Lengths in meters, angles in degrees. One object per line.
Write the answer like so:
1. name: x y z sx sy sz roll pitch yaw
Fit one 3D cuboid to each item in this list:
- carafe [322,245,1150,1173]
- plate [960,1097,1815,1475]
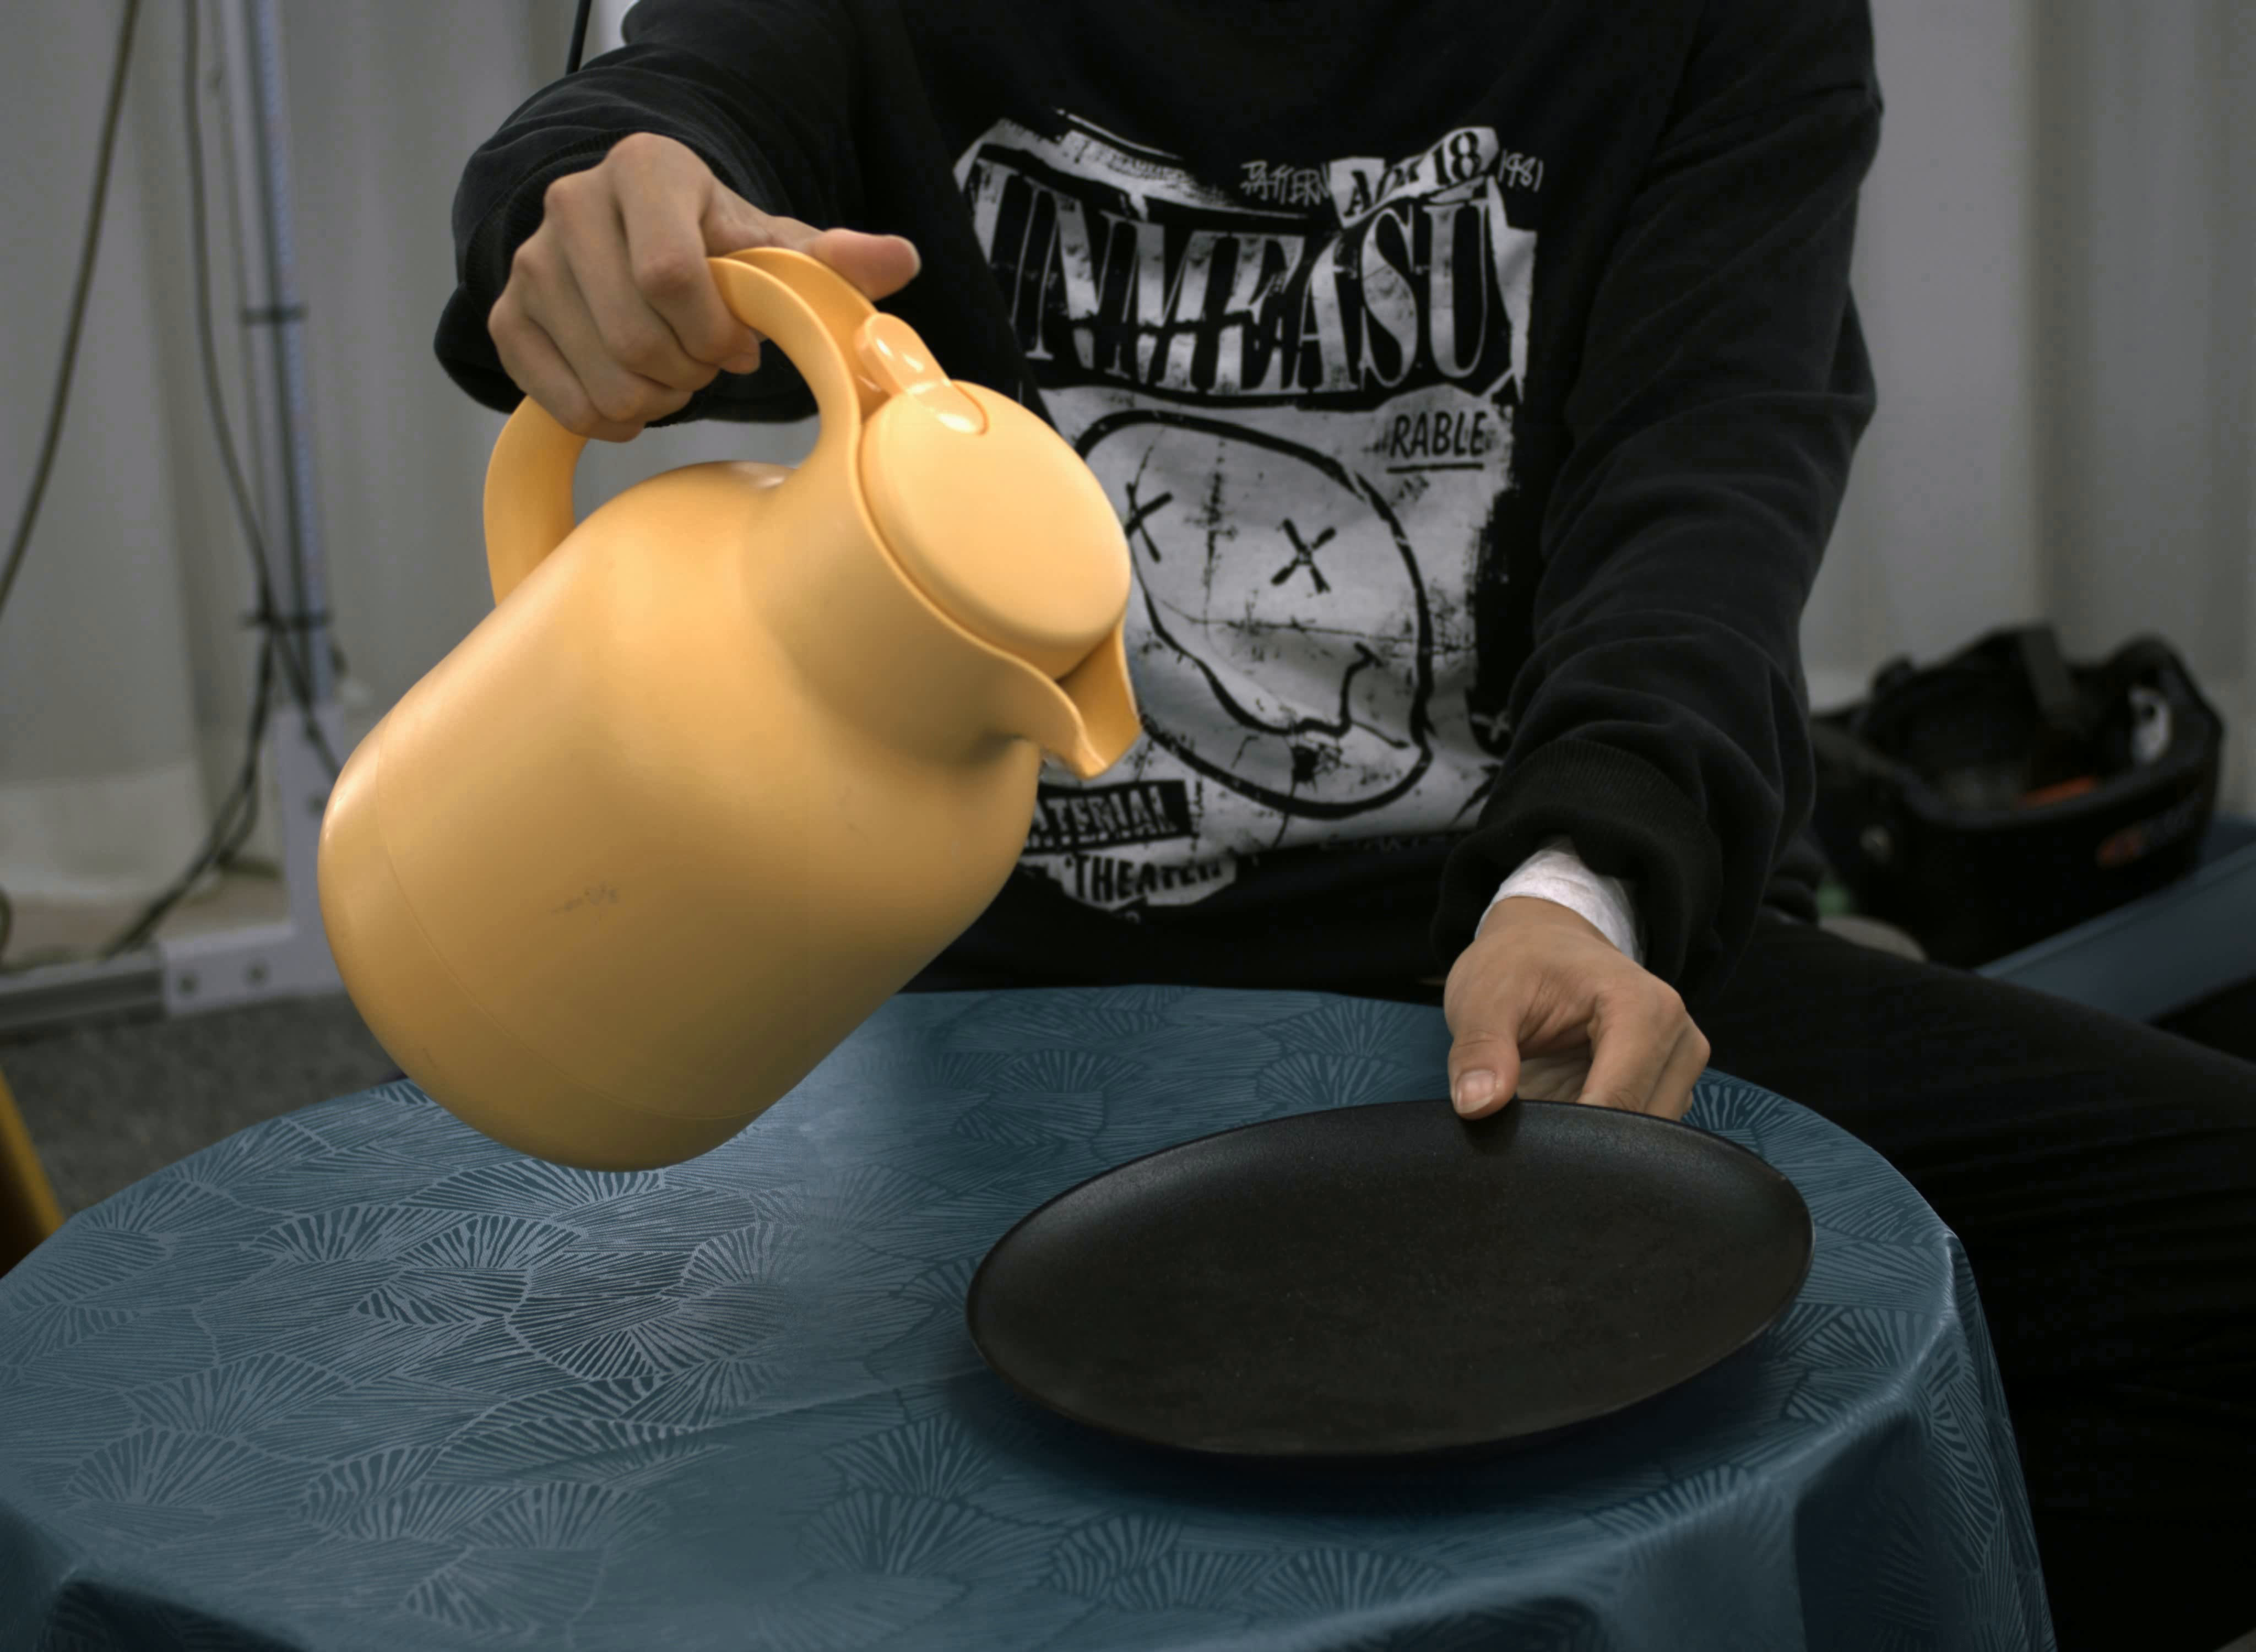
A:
1. carafe: -0.116 -0.039 1.578 0.259 0.204 0.163 -41 -16 34
2. plate: 0.074 0.134 1.551 0.243 0.023 0.246 -6 19 2
